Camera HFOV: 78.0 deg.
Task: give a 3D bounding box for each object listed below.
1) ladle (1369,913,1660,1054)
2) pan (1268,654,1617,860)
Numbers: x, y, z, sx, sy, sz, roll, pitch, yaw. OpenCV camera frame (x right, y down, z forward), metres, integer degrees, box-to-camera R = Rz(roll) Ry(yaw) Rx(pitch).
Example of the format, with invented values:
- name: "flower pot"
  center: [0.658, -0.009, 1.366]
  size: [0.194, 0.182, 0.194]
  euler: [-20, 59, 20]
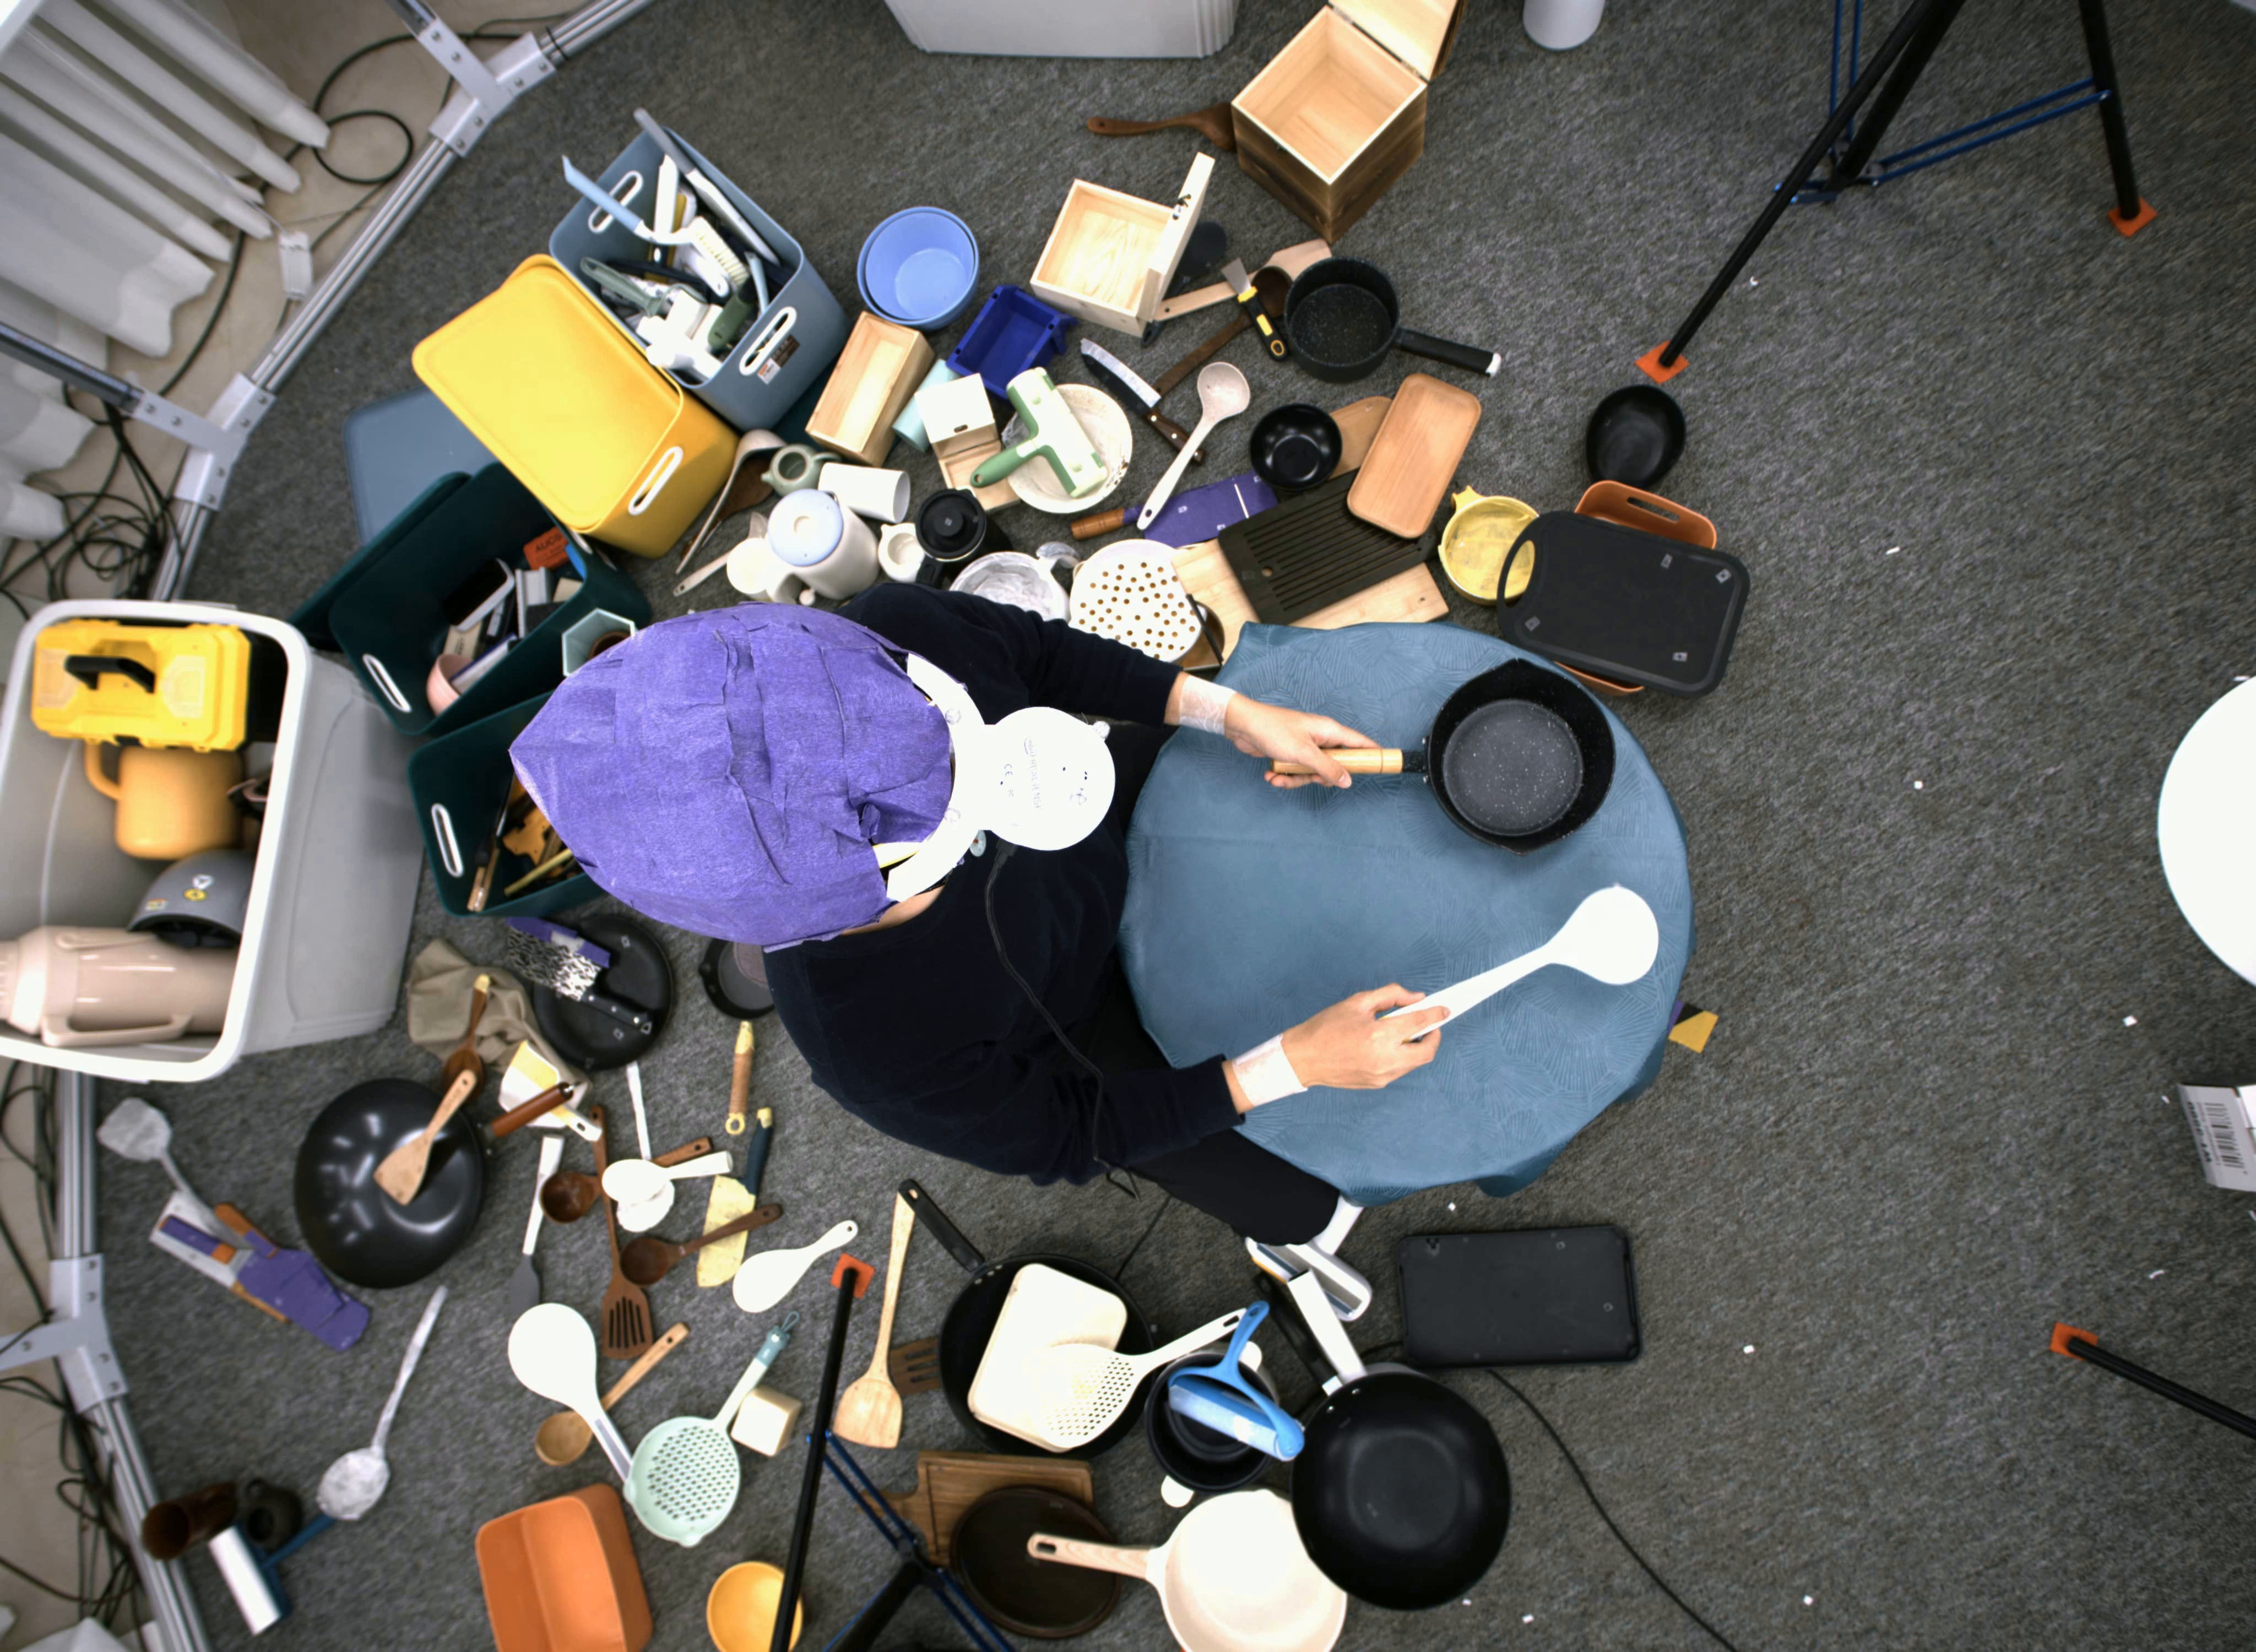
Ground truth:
- name: "ladle"
  center: [0.368, 0.154, 1.301]
  size: [0.290, 0.069, 0.091]
  euler: [-18, 110, -19]
- name: "pan"
  center: [0.317, -0.066, 1.404]
  size: [0.344, 0.108, 0.207]
  euler: [-2, 87, 9]
